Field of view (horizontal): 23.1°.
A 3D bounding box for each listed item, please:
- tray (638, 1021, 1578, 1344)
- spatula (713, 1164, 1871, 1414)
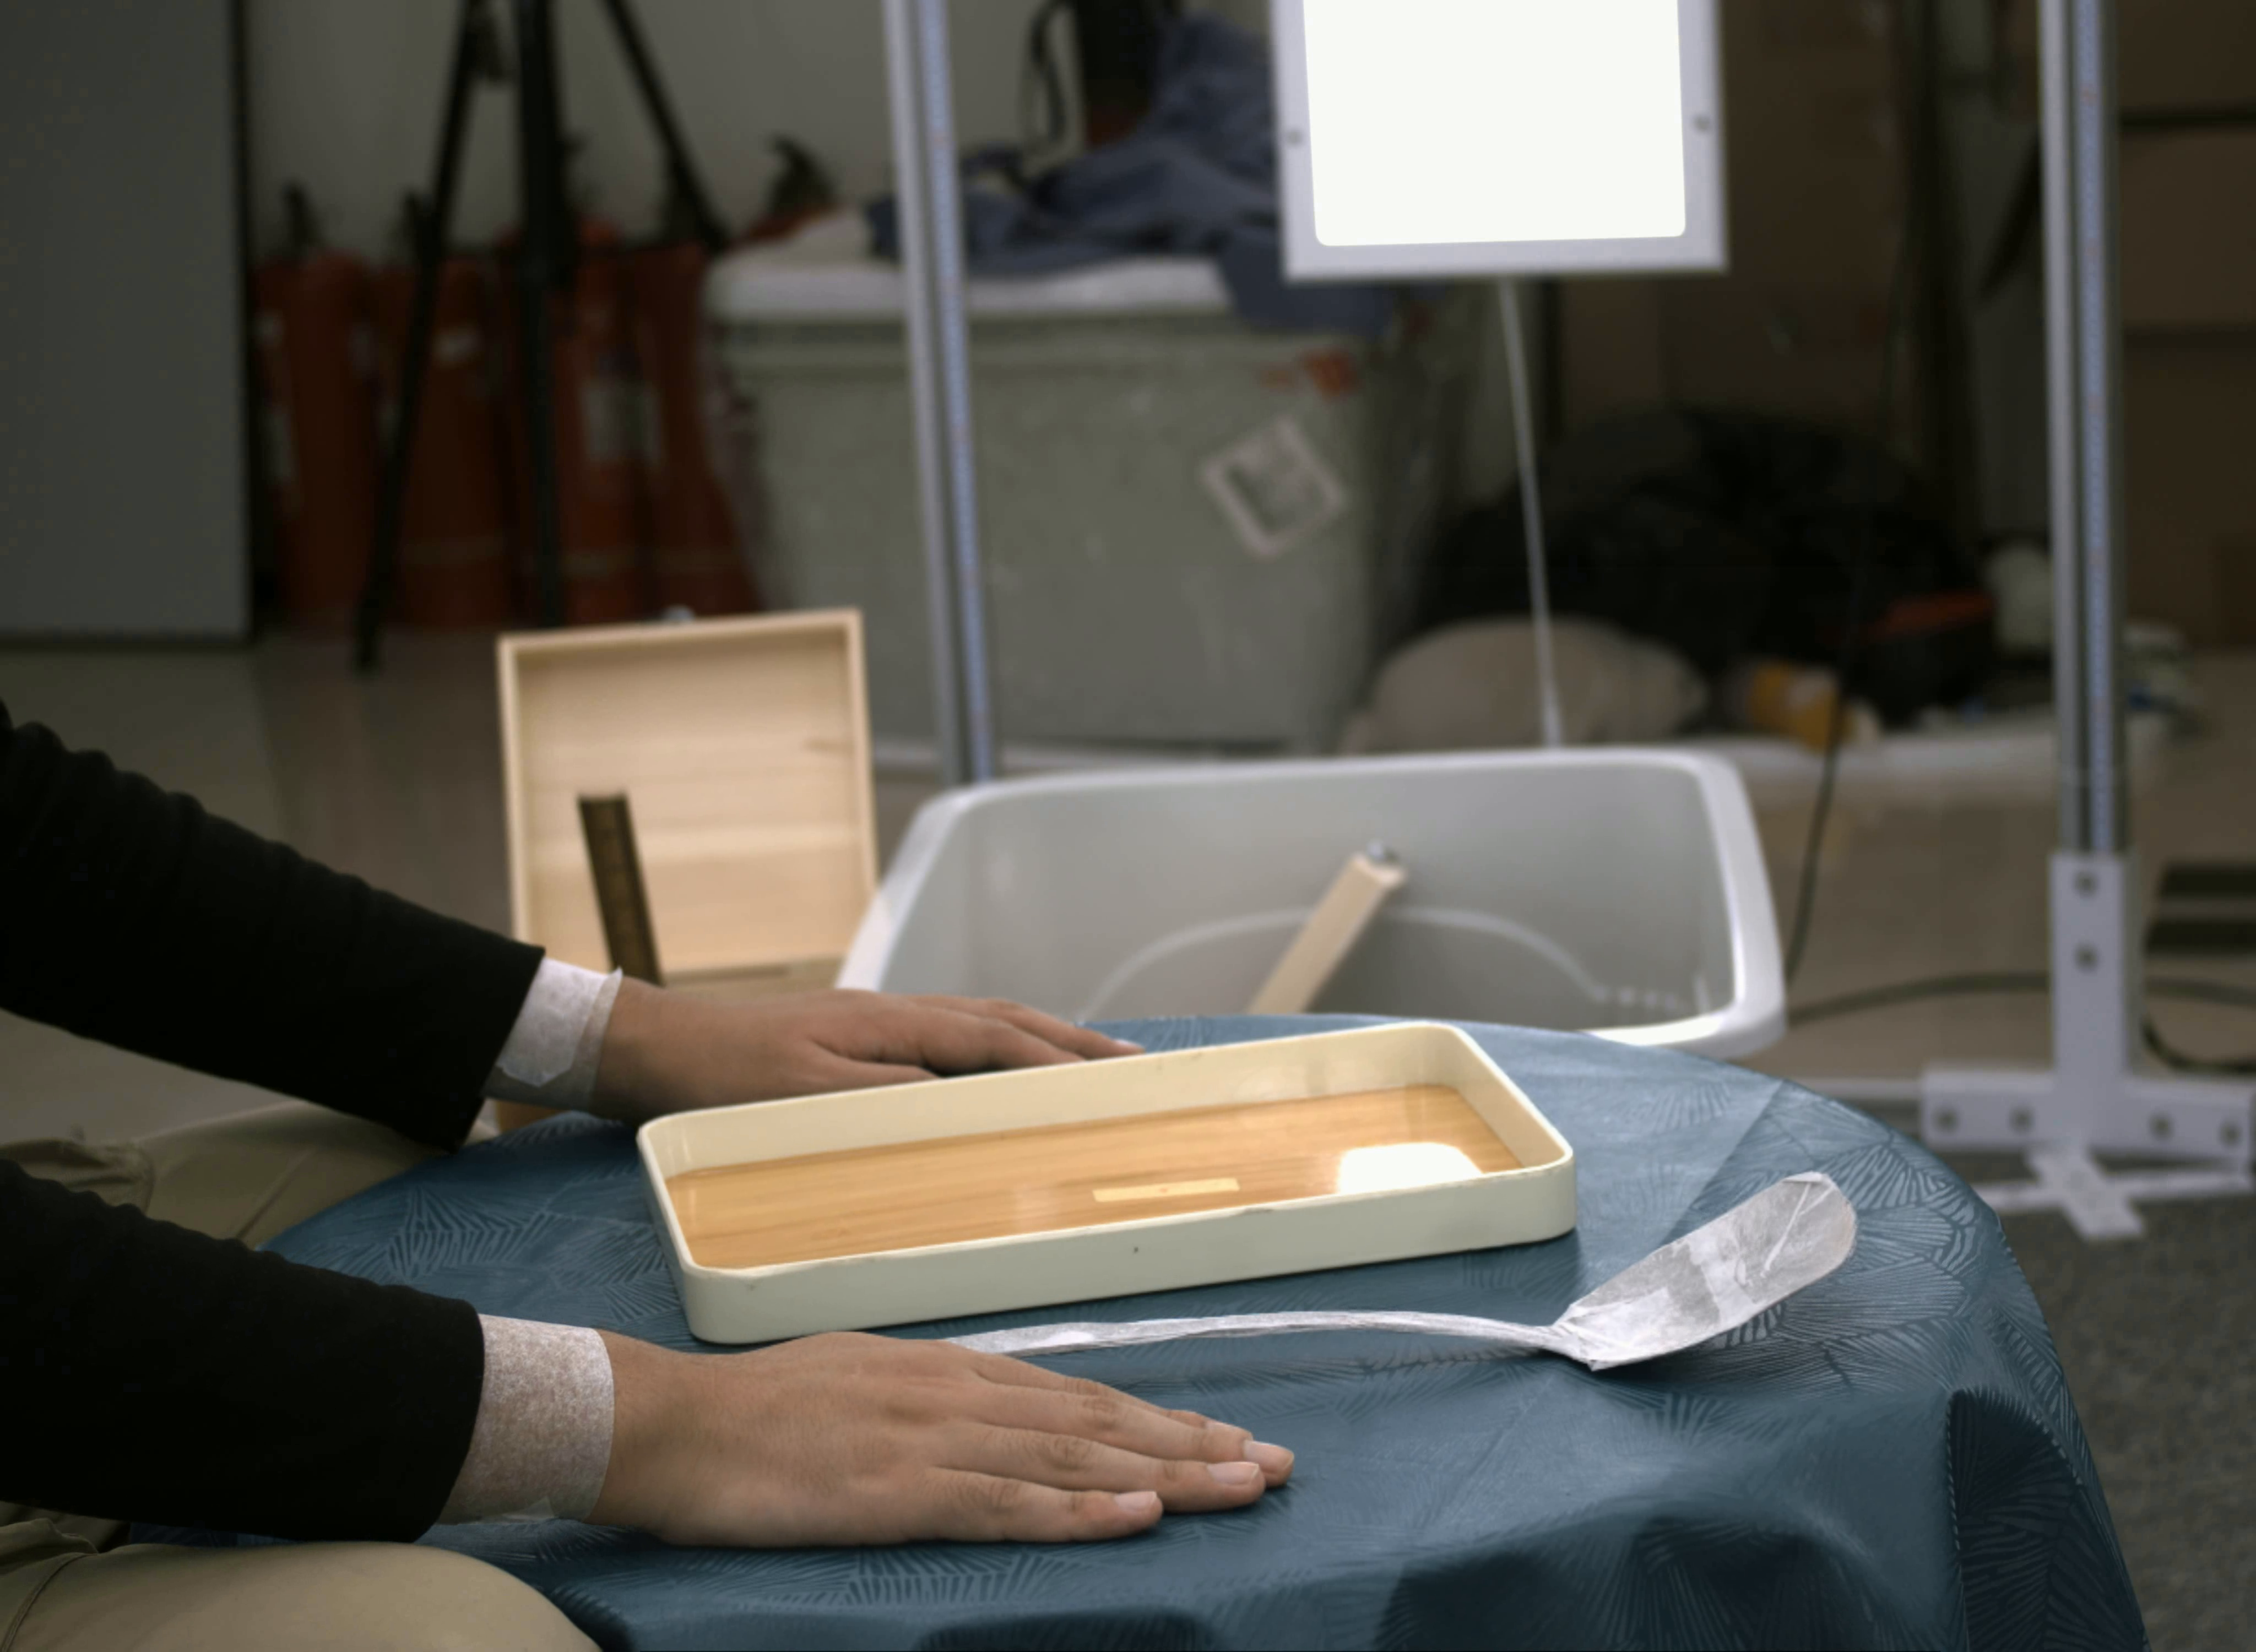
[{"bbox_3d":[-0.011,0.119,1.876,0.298,0.027,0.192,-7,14,-7],"label":"tray"},{"bbox_3d":[0.049,0.150,1.704,0.364,0.045,0.098,-4,14,3],"label":"spatula"}]
